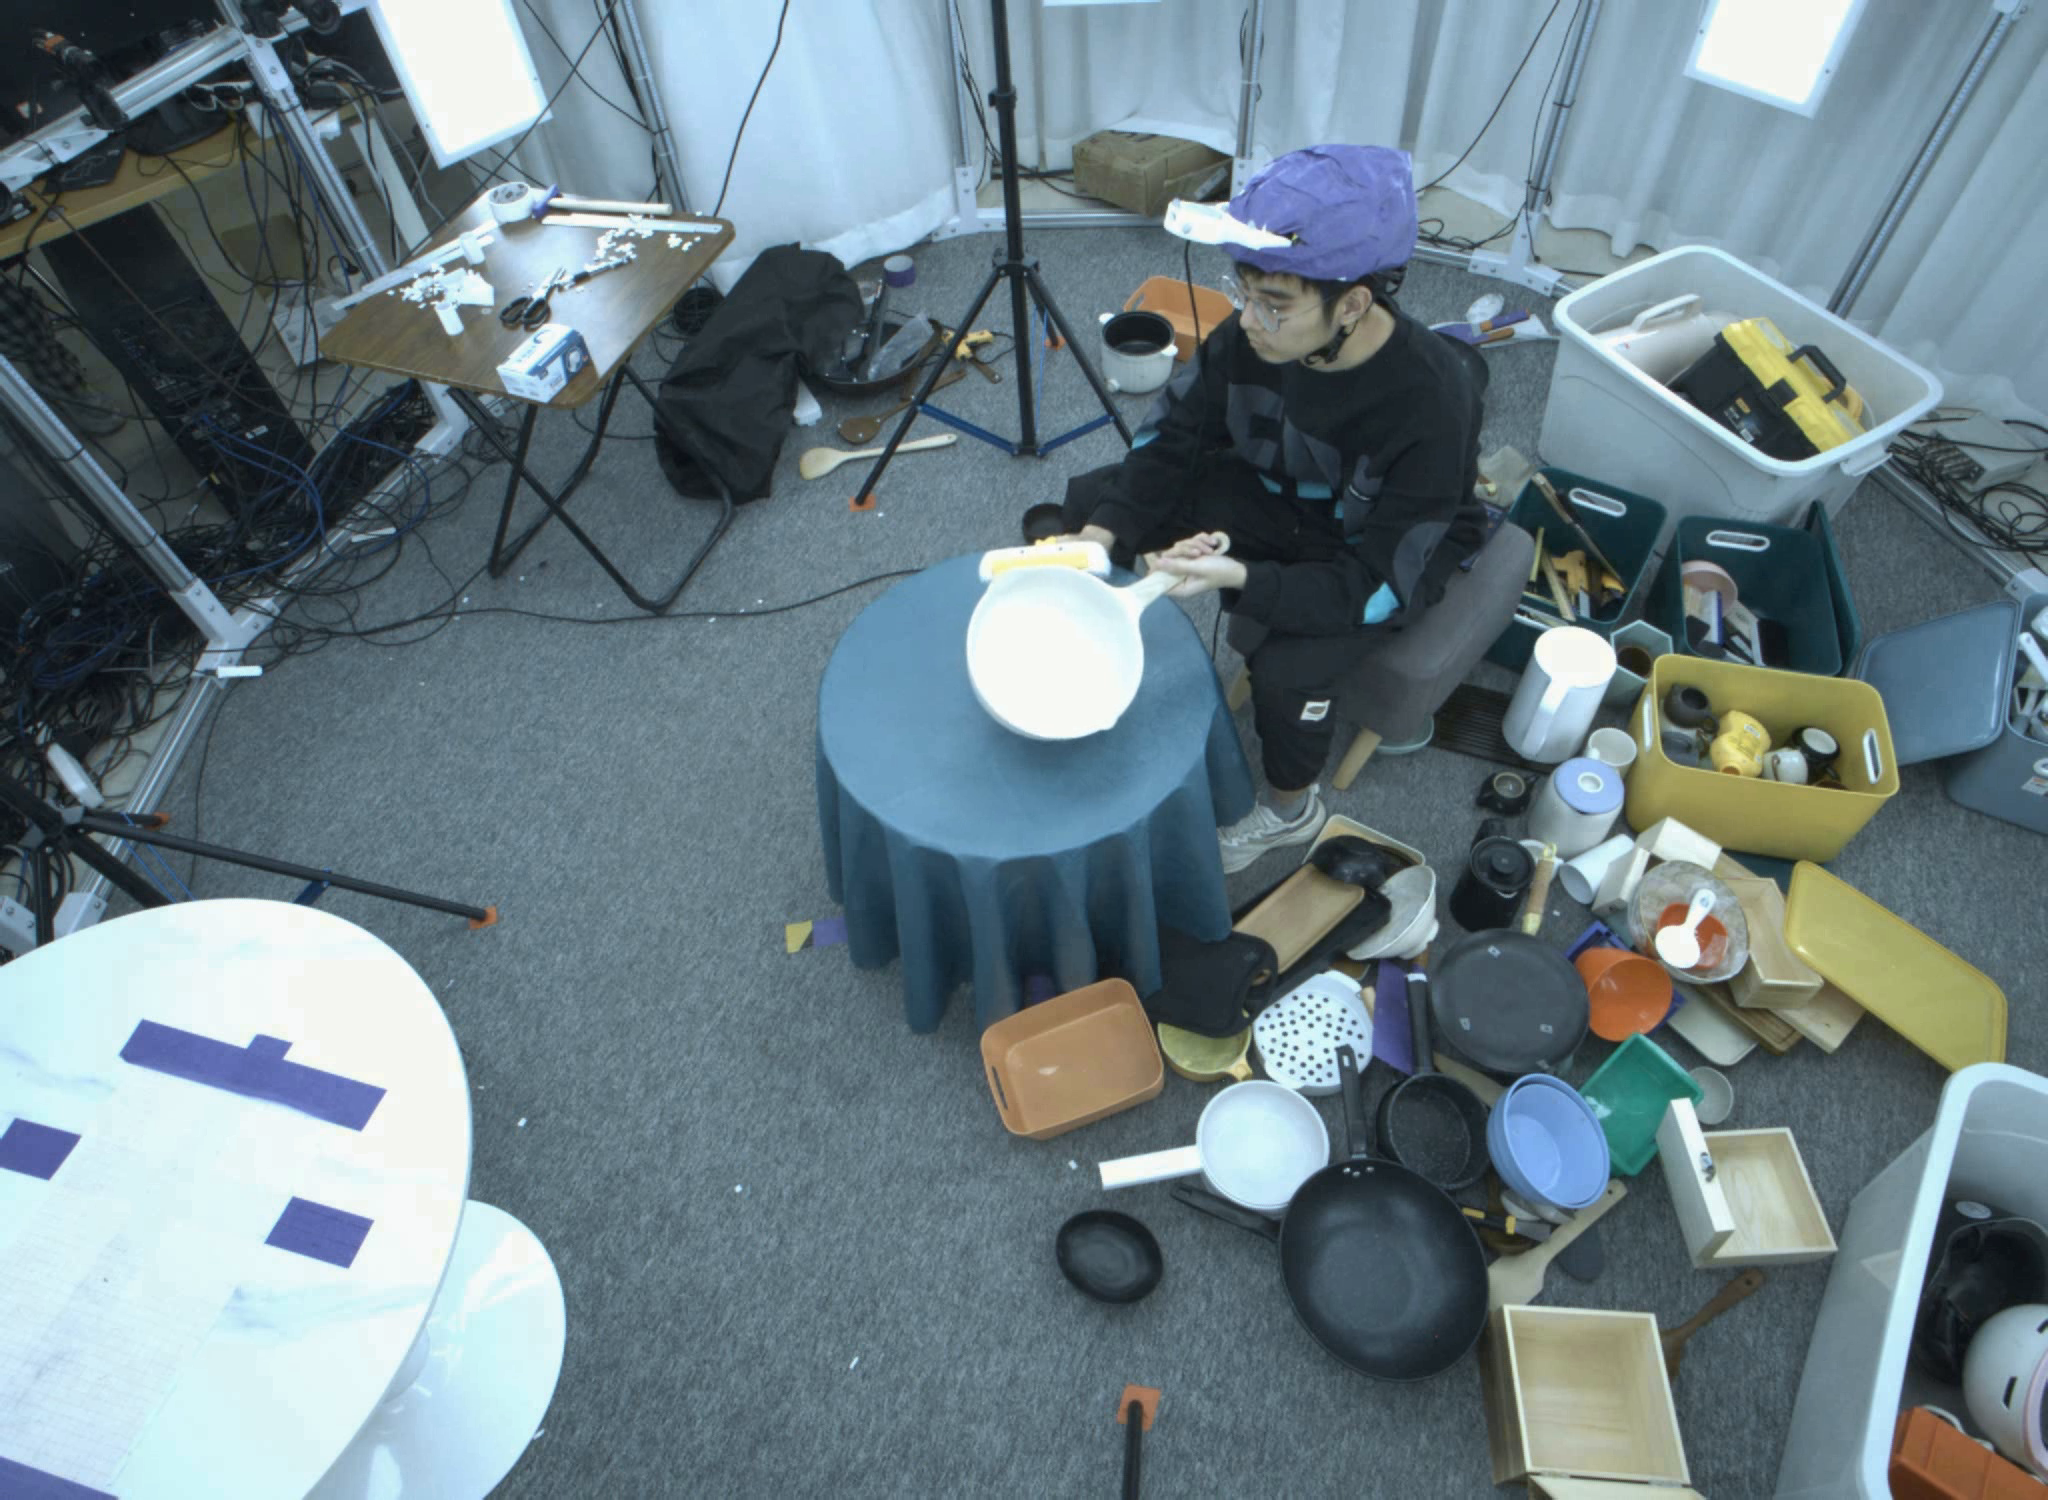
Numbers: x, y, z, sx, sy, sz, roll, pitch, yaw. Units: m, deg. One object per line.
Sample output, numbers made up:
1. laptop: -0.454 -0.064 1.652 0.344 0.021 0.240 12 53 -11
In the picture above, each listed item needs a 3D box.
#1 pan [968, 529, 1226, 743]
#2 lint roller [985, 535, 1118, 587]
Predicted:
1. pan: 0.112 -0.179 1.754 0.438 0.101 0.263 -36 87 -18
2. lint roller: 0.050 -0.275 1.835 0.191 0.194 0.074 -8 89 11
